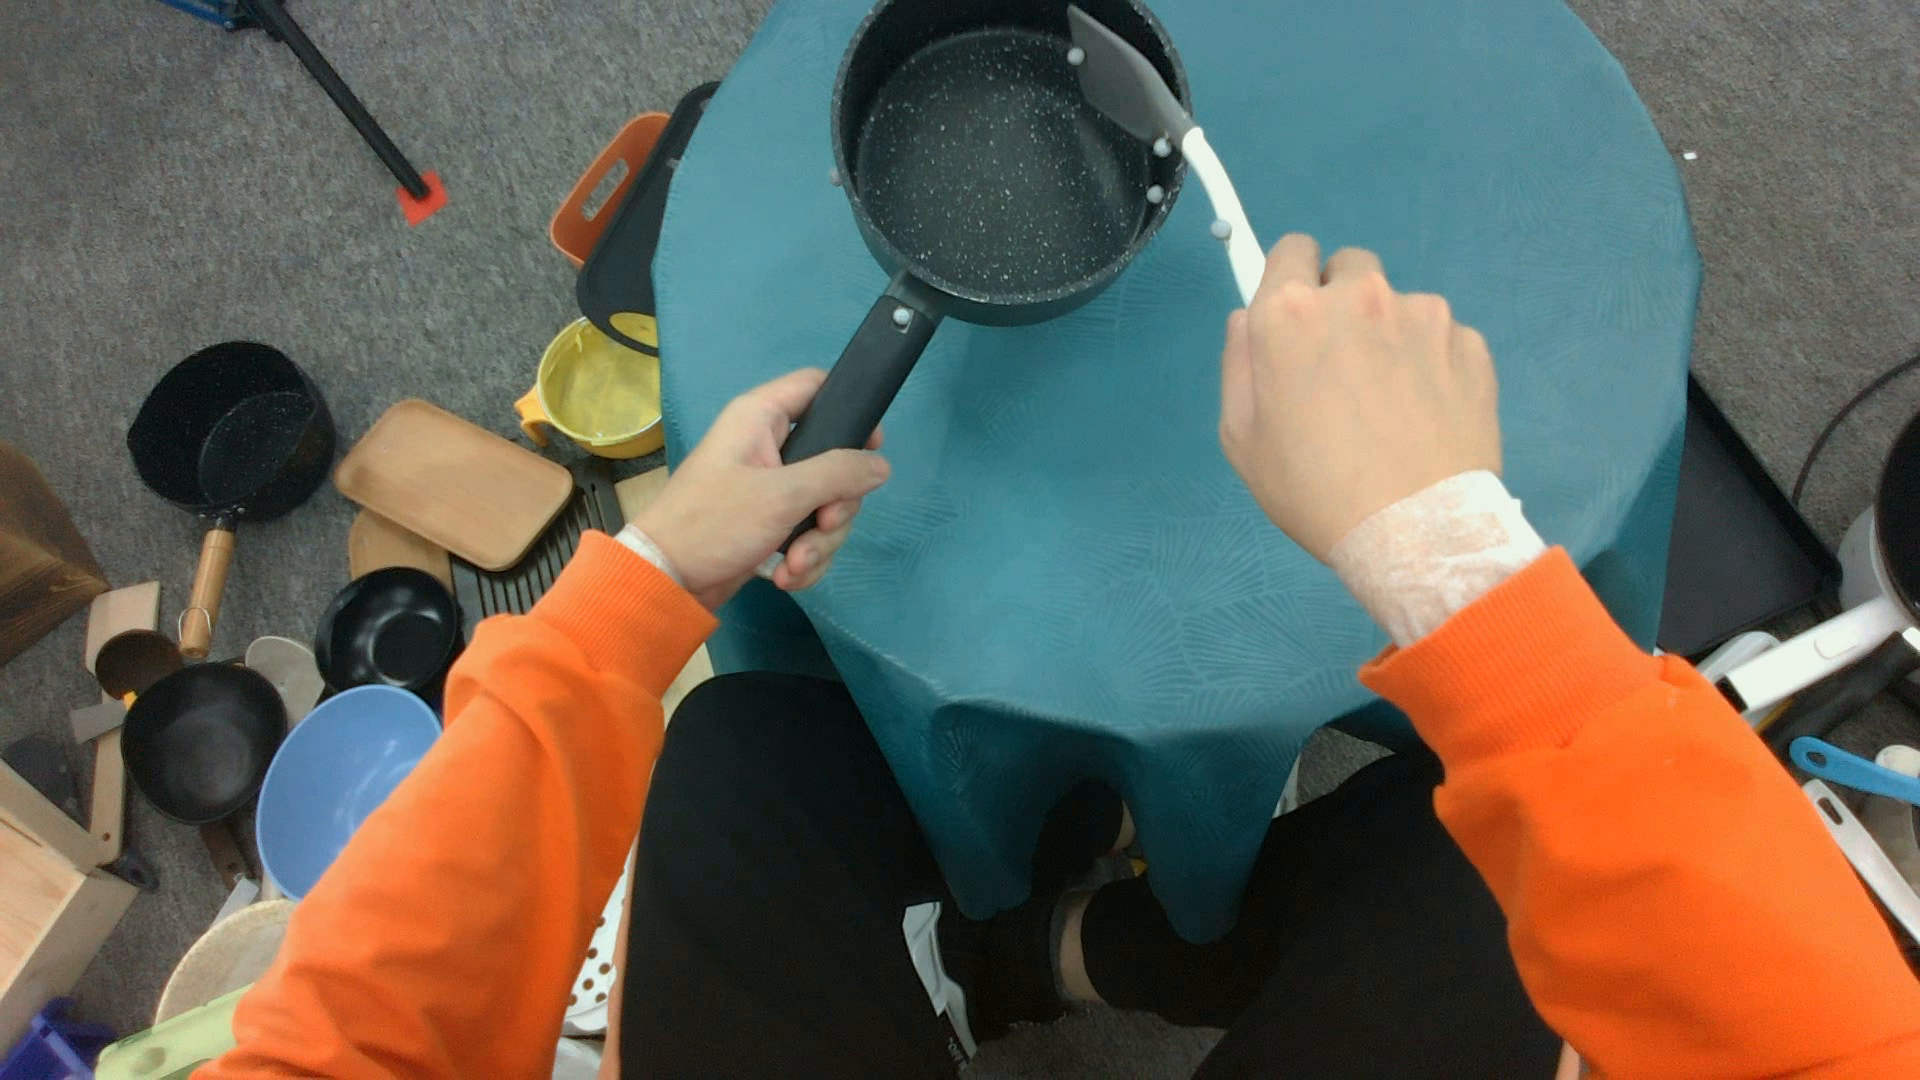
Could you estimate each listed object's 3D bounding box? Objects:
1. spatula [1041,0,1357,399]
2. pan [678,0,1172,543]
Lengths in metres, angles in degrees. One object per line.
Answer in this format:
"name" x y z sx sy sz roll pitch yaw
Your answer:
"spatula" 0.092 -0.161 0.604 0.032 0.058 0.288 -21 47 -2
"pan" -0.028 -0.139 0.673 0.172 0.086 0.329 32 84 1
